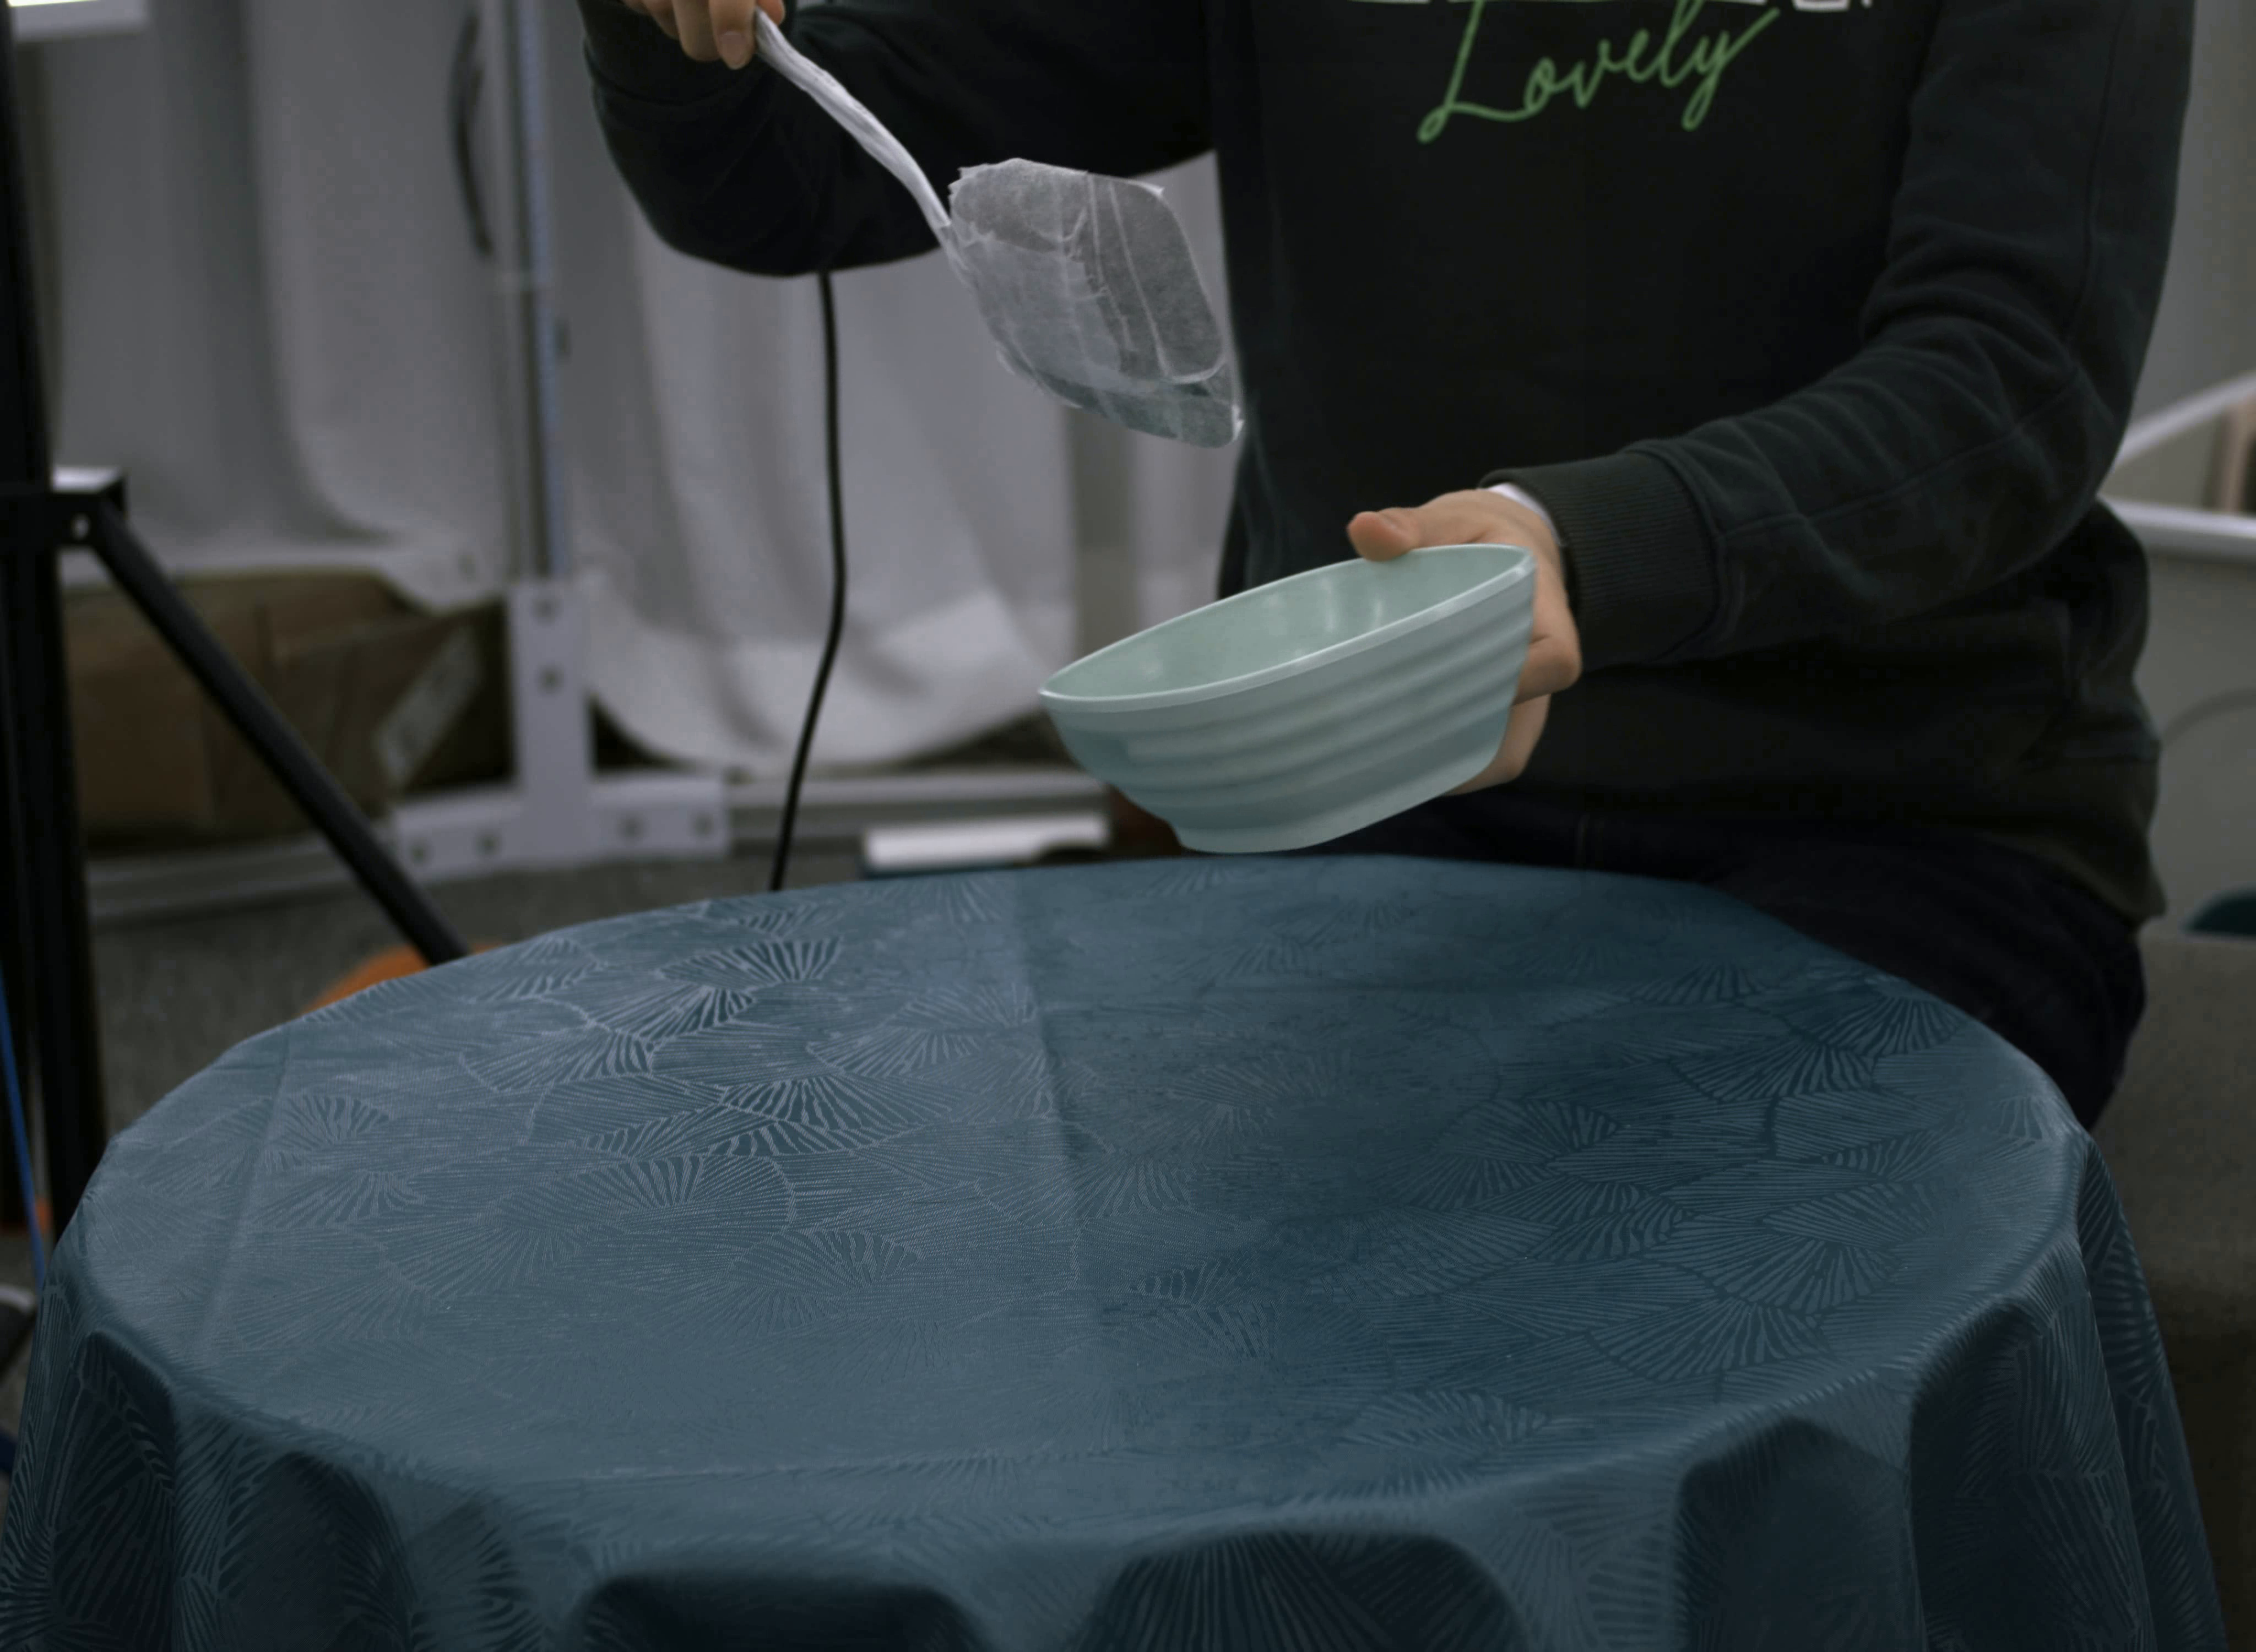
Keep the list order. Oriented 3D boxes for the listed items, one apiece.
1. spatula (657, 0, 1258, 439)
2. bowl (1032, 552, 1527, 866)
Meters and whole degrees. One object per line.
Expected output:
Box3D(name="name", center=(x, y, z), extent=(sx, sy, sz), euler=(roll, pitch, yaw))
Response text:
Box3D(name="spatula", center=(-0.075, -0.218, 1.651), extent=(0.044, 0.097, 0.373), euler=(-31, 41, -14))
Box3D(name="bowl", center=(0.051, -0.030, 1.552), extent=(0.151, 0.058, 0.152), euler=(-17, 12, 2))
